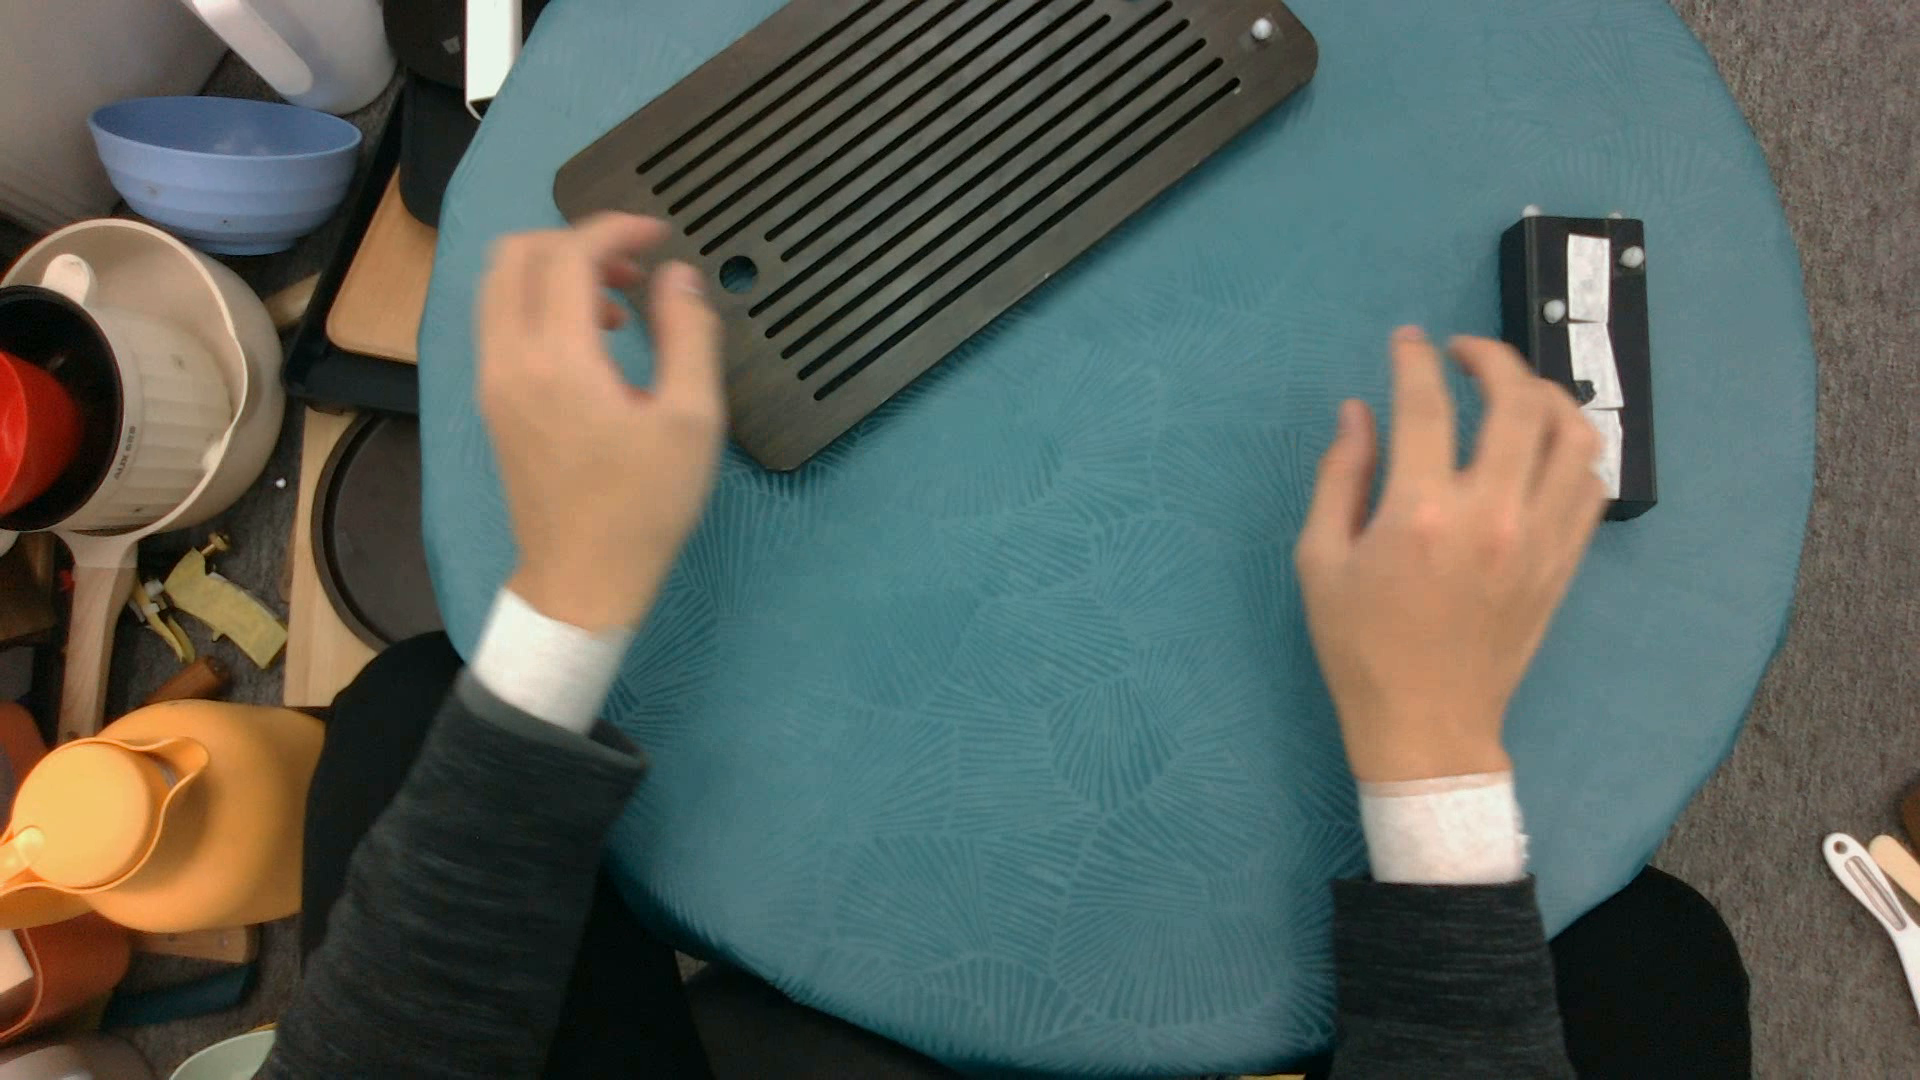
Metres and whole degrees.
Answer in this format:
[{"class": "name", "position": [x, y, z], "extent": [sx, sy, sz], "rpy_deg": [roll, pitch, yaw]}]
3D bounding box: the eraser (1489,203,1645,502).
[{"class": "eraser", "position": [0.253, -0.078, 0.579], "extent": [0.053, 0.030, 0.125], "rpy_deg": [1, 81, 3]}]

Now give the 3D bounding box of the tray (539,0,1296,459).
[{"class": "tray", "position": [-0.017, -0.186, 0.606], "extent": [0.306, 0.018, 0.170], "rpy_deg": [-38, 82, -6]}]
